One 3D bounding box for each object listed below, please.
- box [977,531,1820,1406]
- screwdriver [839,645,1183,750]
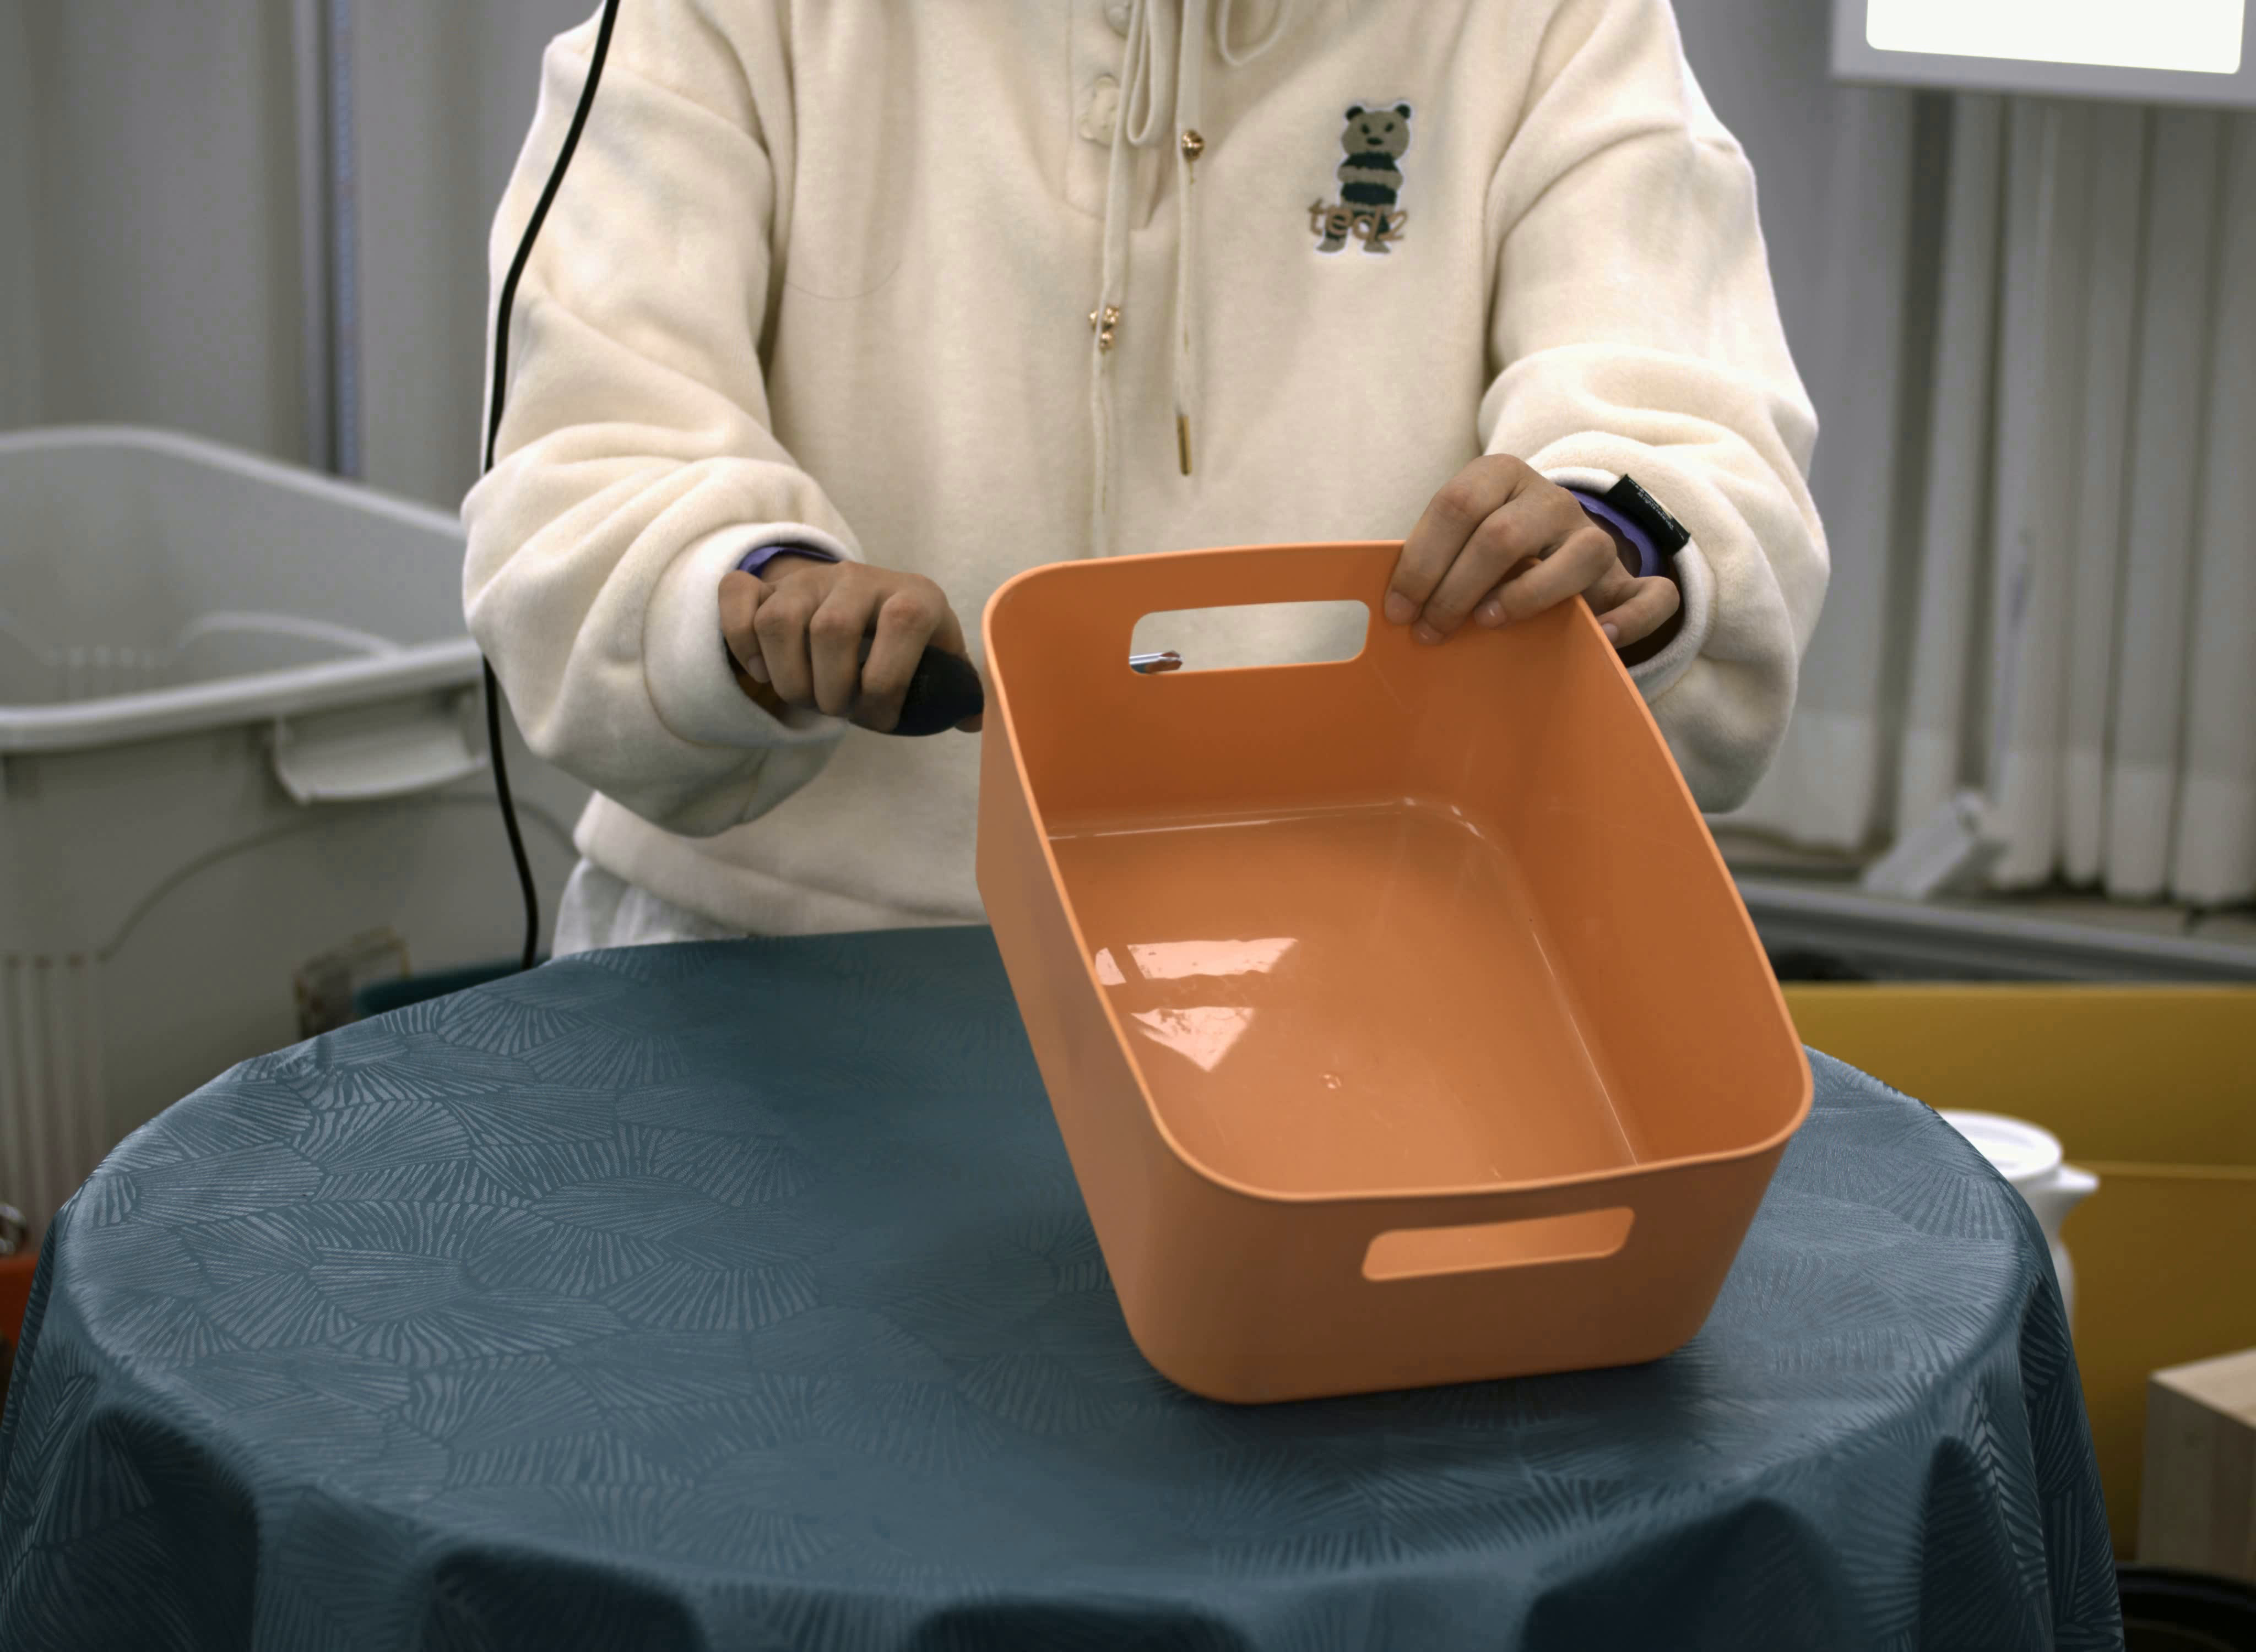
[{"bbox_3d":[0.068,0.040,1.517,0.200,0.103,0.270,-5,44,-16],"label":"box"},{"bbox_3d":[-0.039,-0.043,1.656,0.031,0.031,0.194,-9,1,-30],"label":"screwdriver"}]
